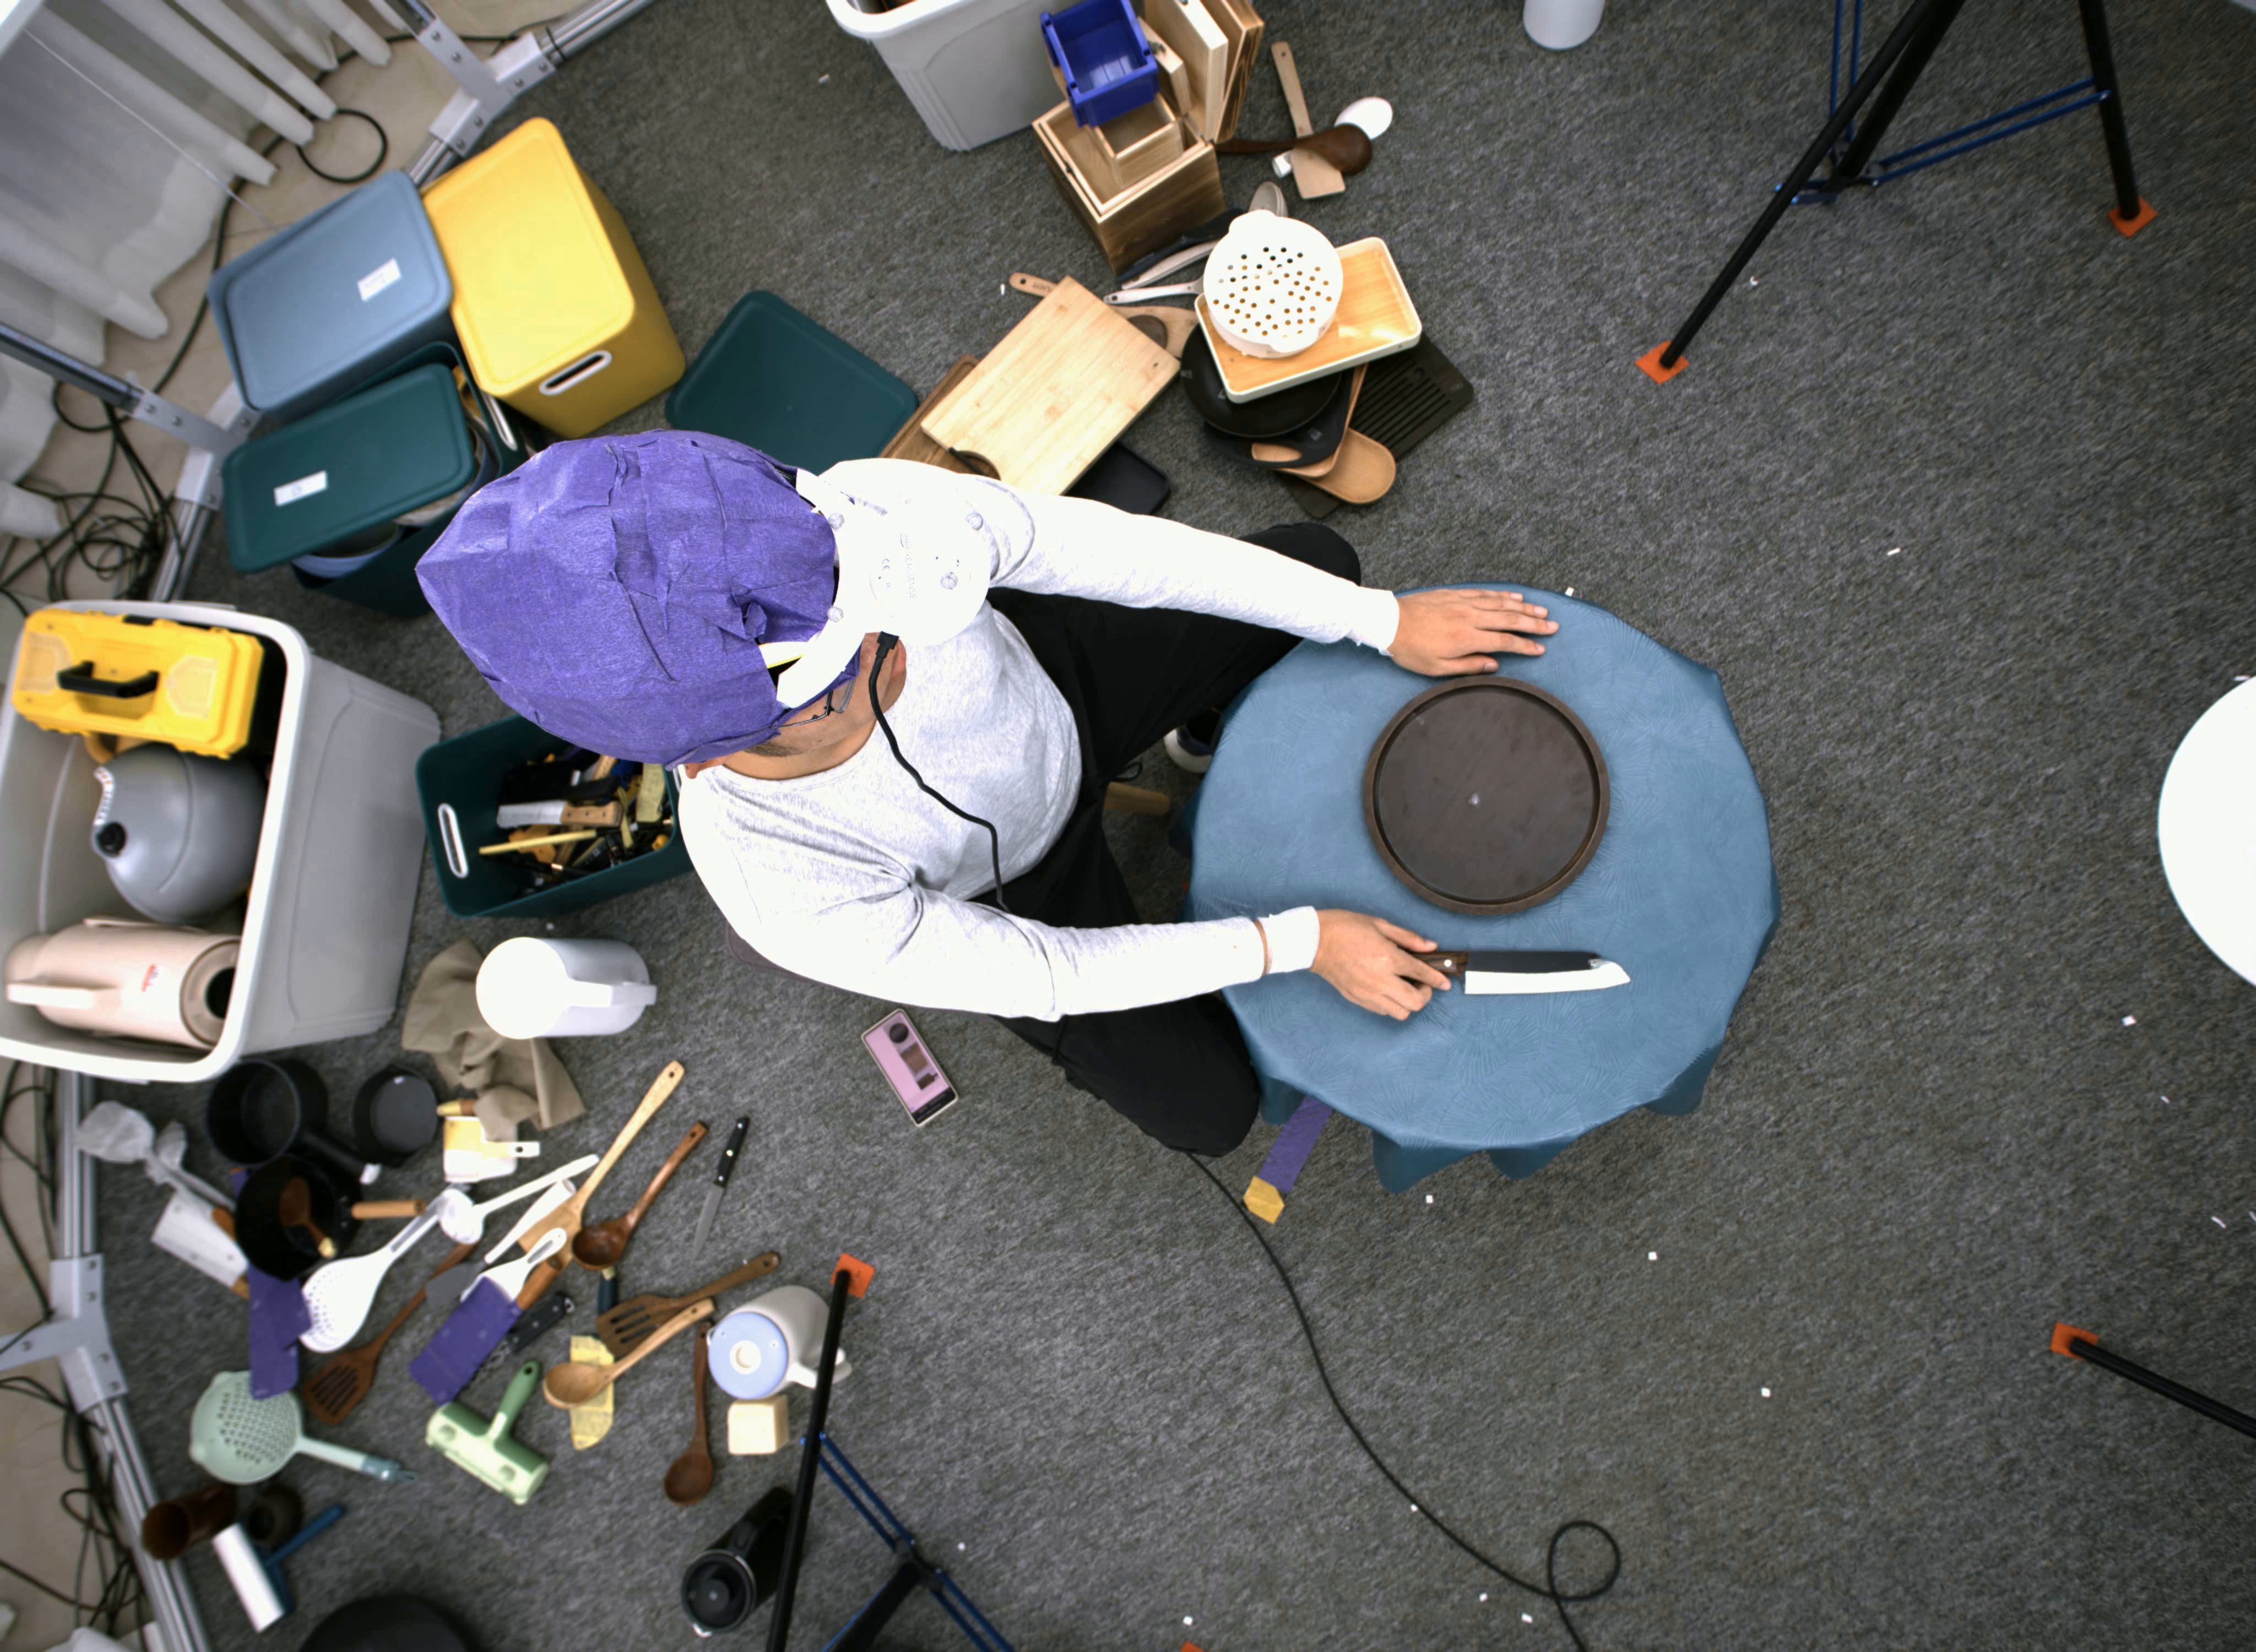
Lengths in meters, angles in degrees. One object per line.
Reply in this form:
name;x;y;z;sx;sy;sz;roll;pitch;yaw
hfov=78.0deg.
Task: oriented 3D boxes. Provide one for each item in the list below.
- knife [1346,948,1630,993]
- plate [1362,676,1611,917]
knife;0.372;0.147;1.429;0.290;0.020;0.050;1;94;9
plate;0.372;-0.033;1.434;0.256;0.029;0.254;-1;88;12
